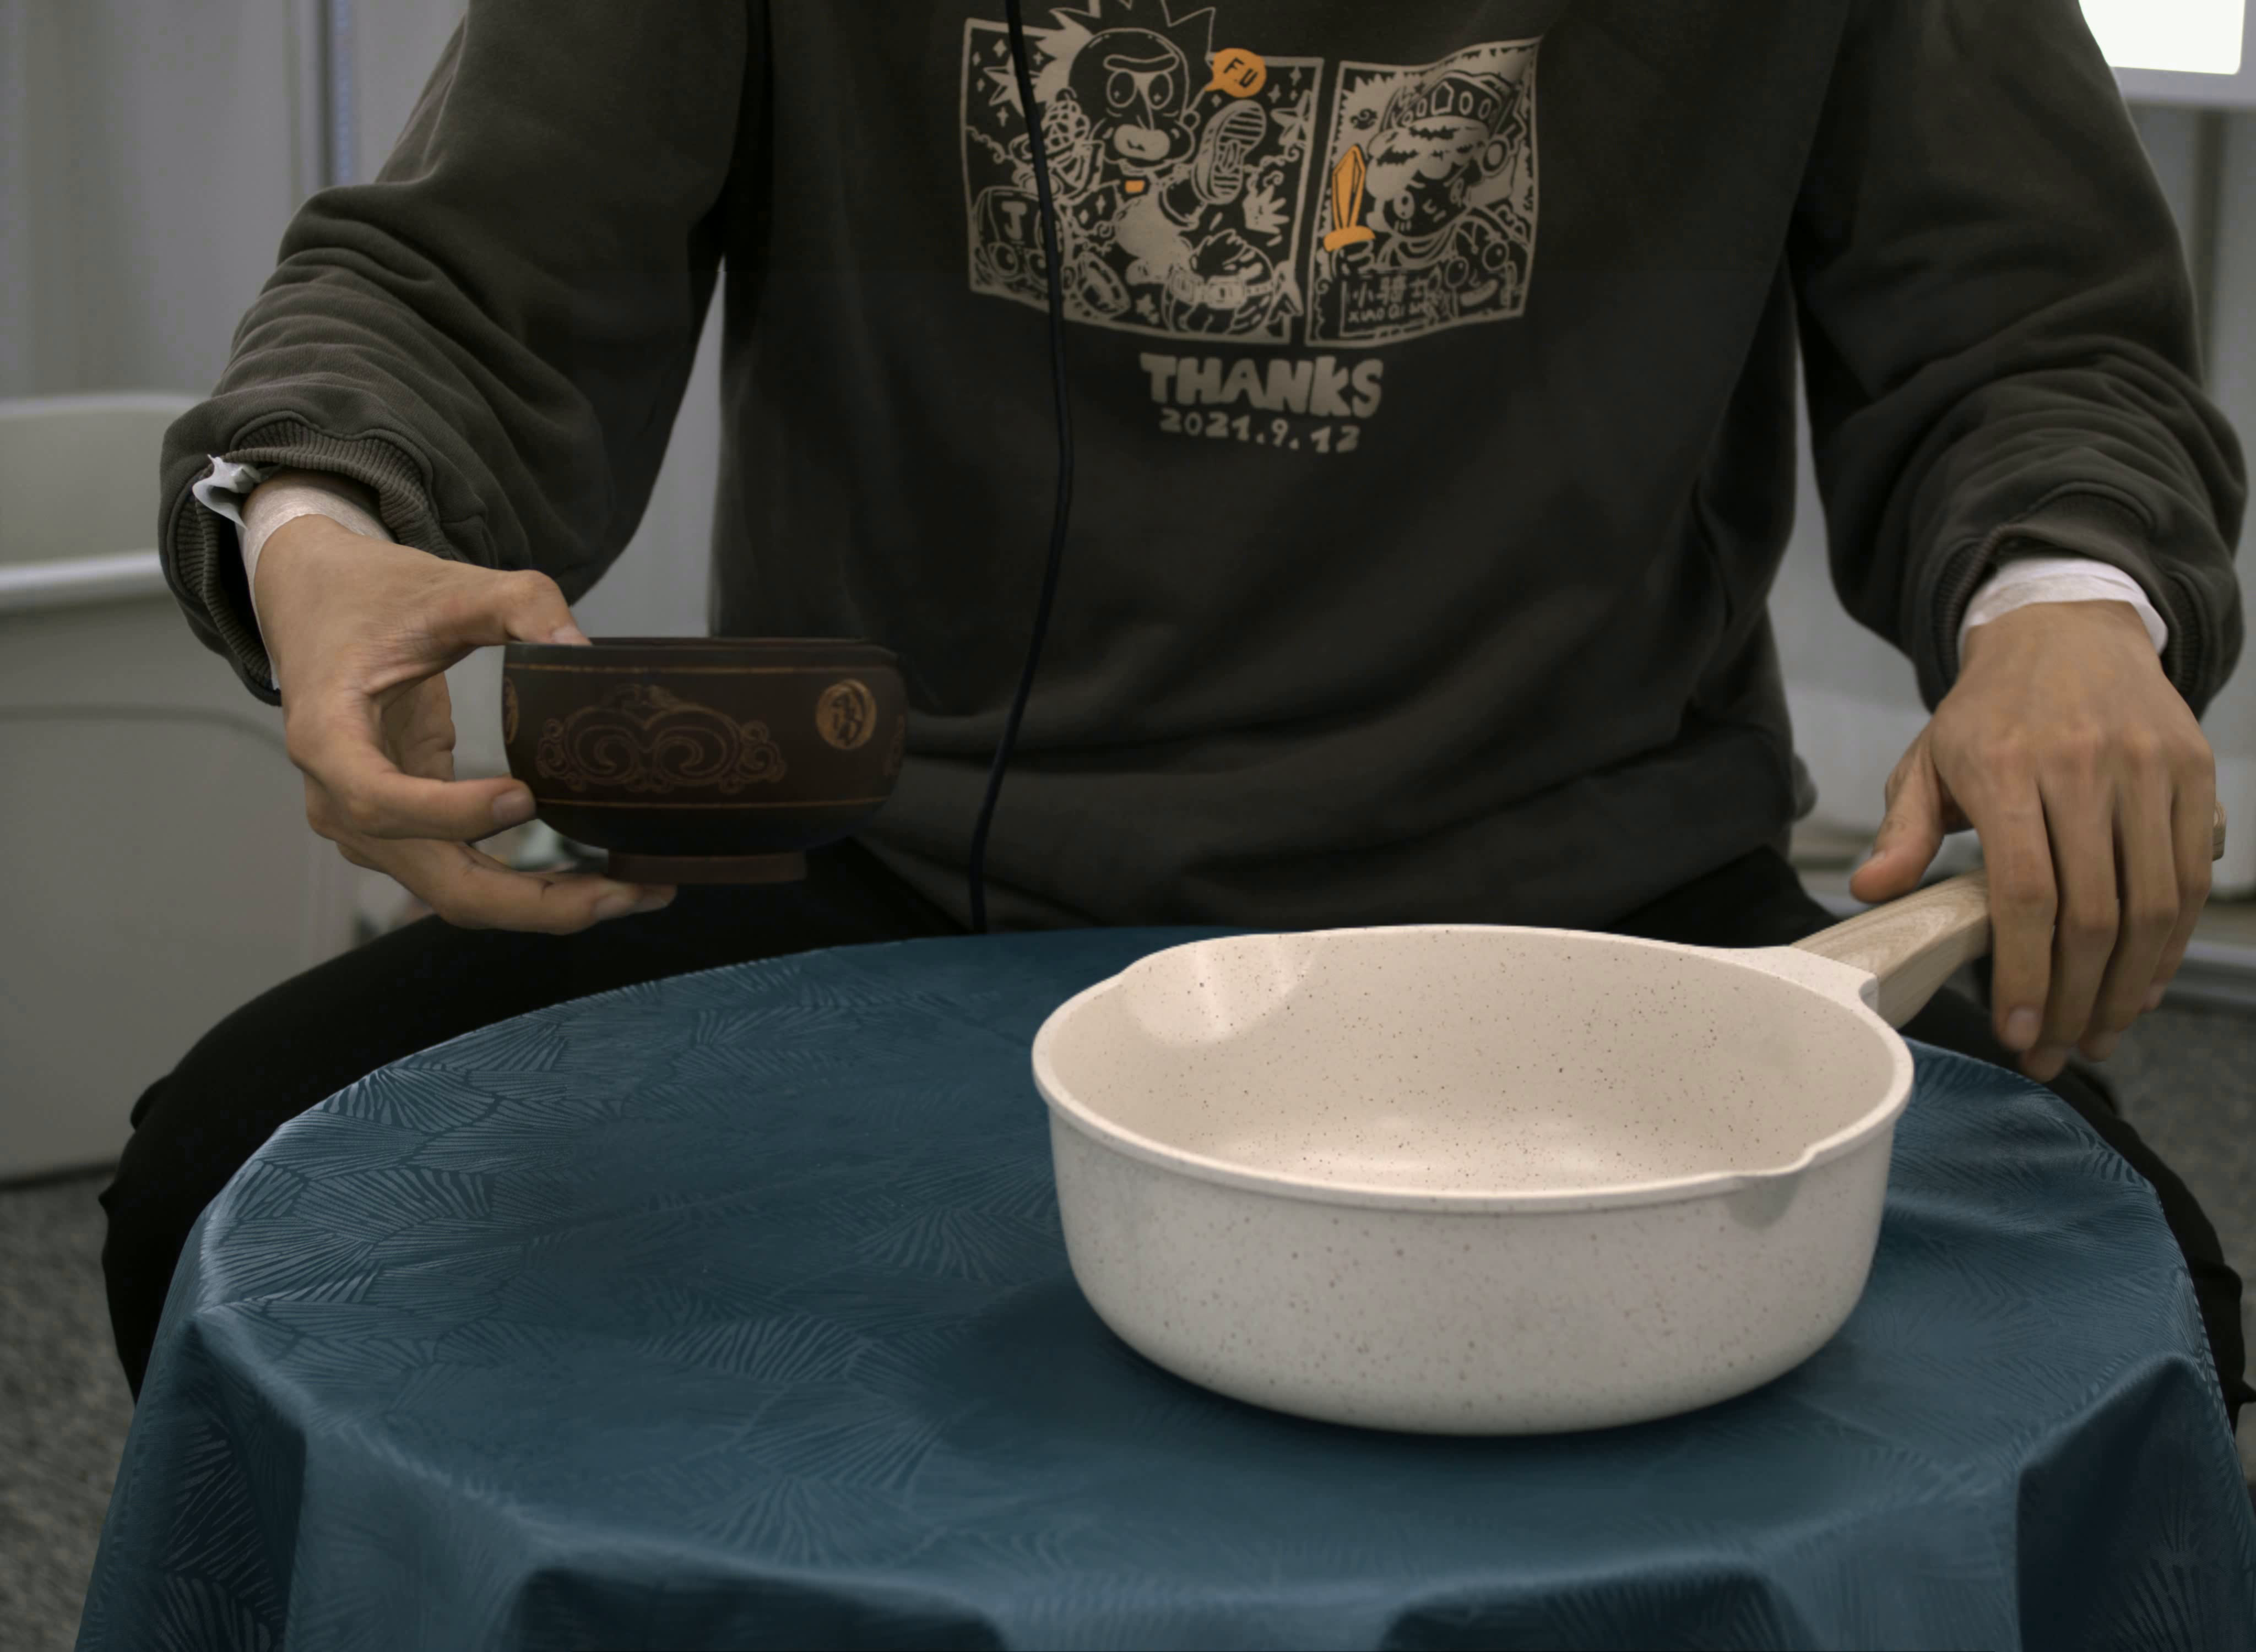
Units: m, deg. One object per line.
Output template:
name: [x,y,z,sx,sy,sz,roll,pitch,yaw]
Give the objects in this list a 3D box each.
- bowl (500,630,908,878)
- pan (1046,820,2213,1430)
bowl: [-0.121,-0.021,1.511,0.117,0.070,0.118,-1,2,1]
pan: [0.174,0.081,1.565,0.437,0.103,0.260,-11,17,-37]
